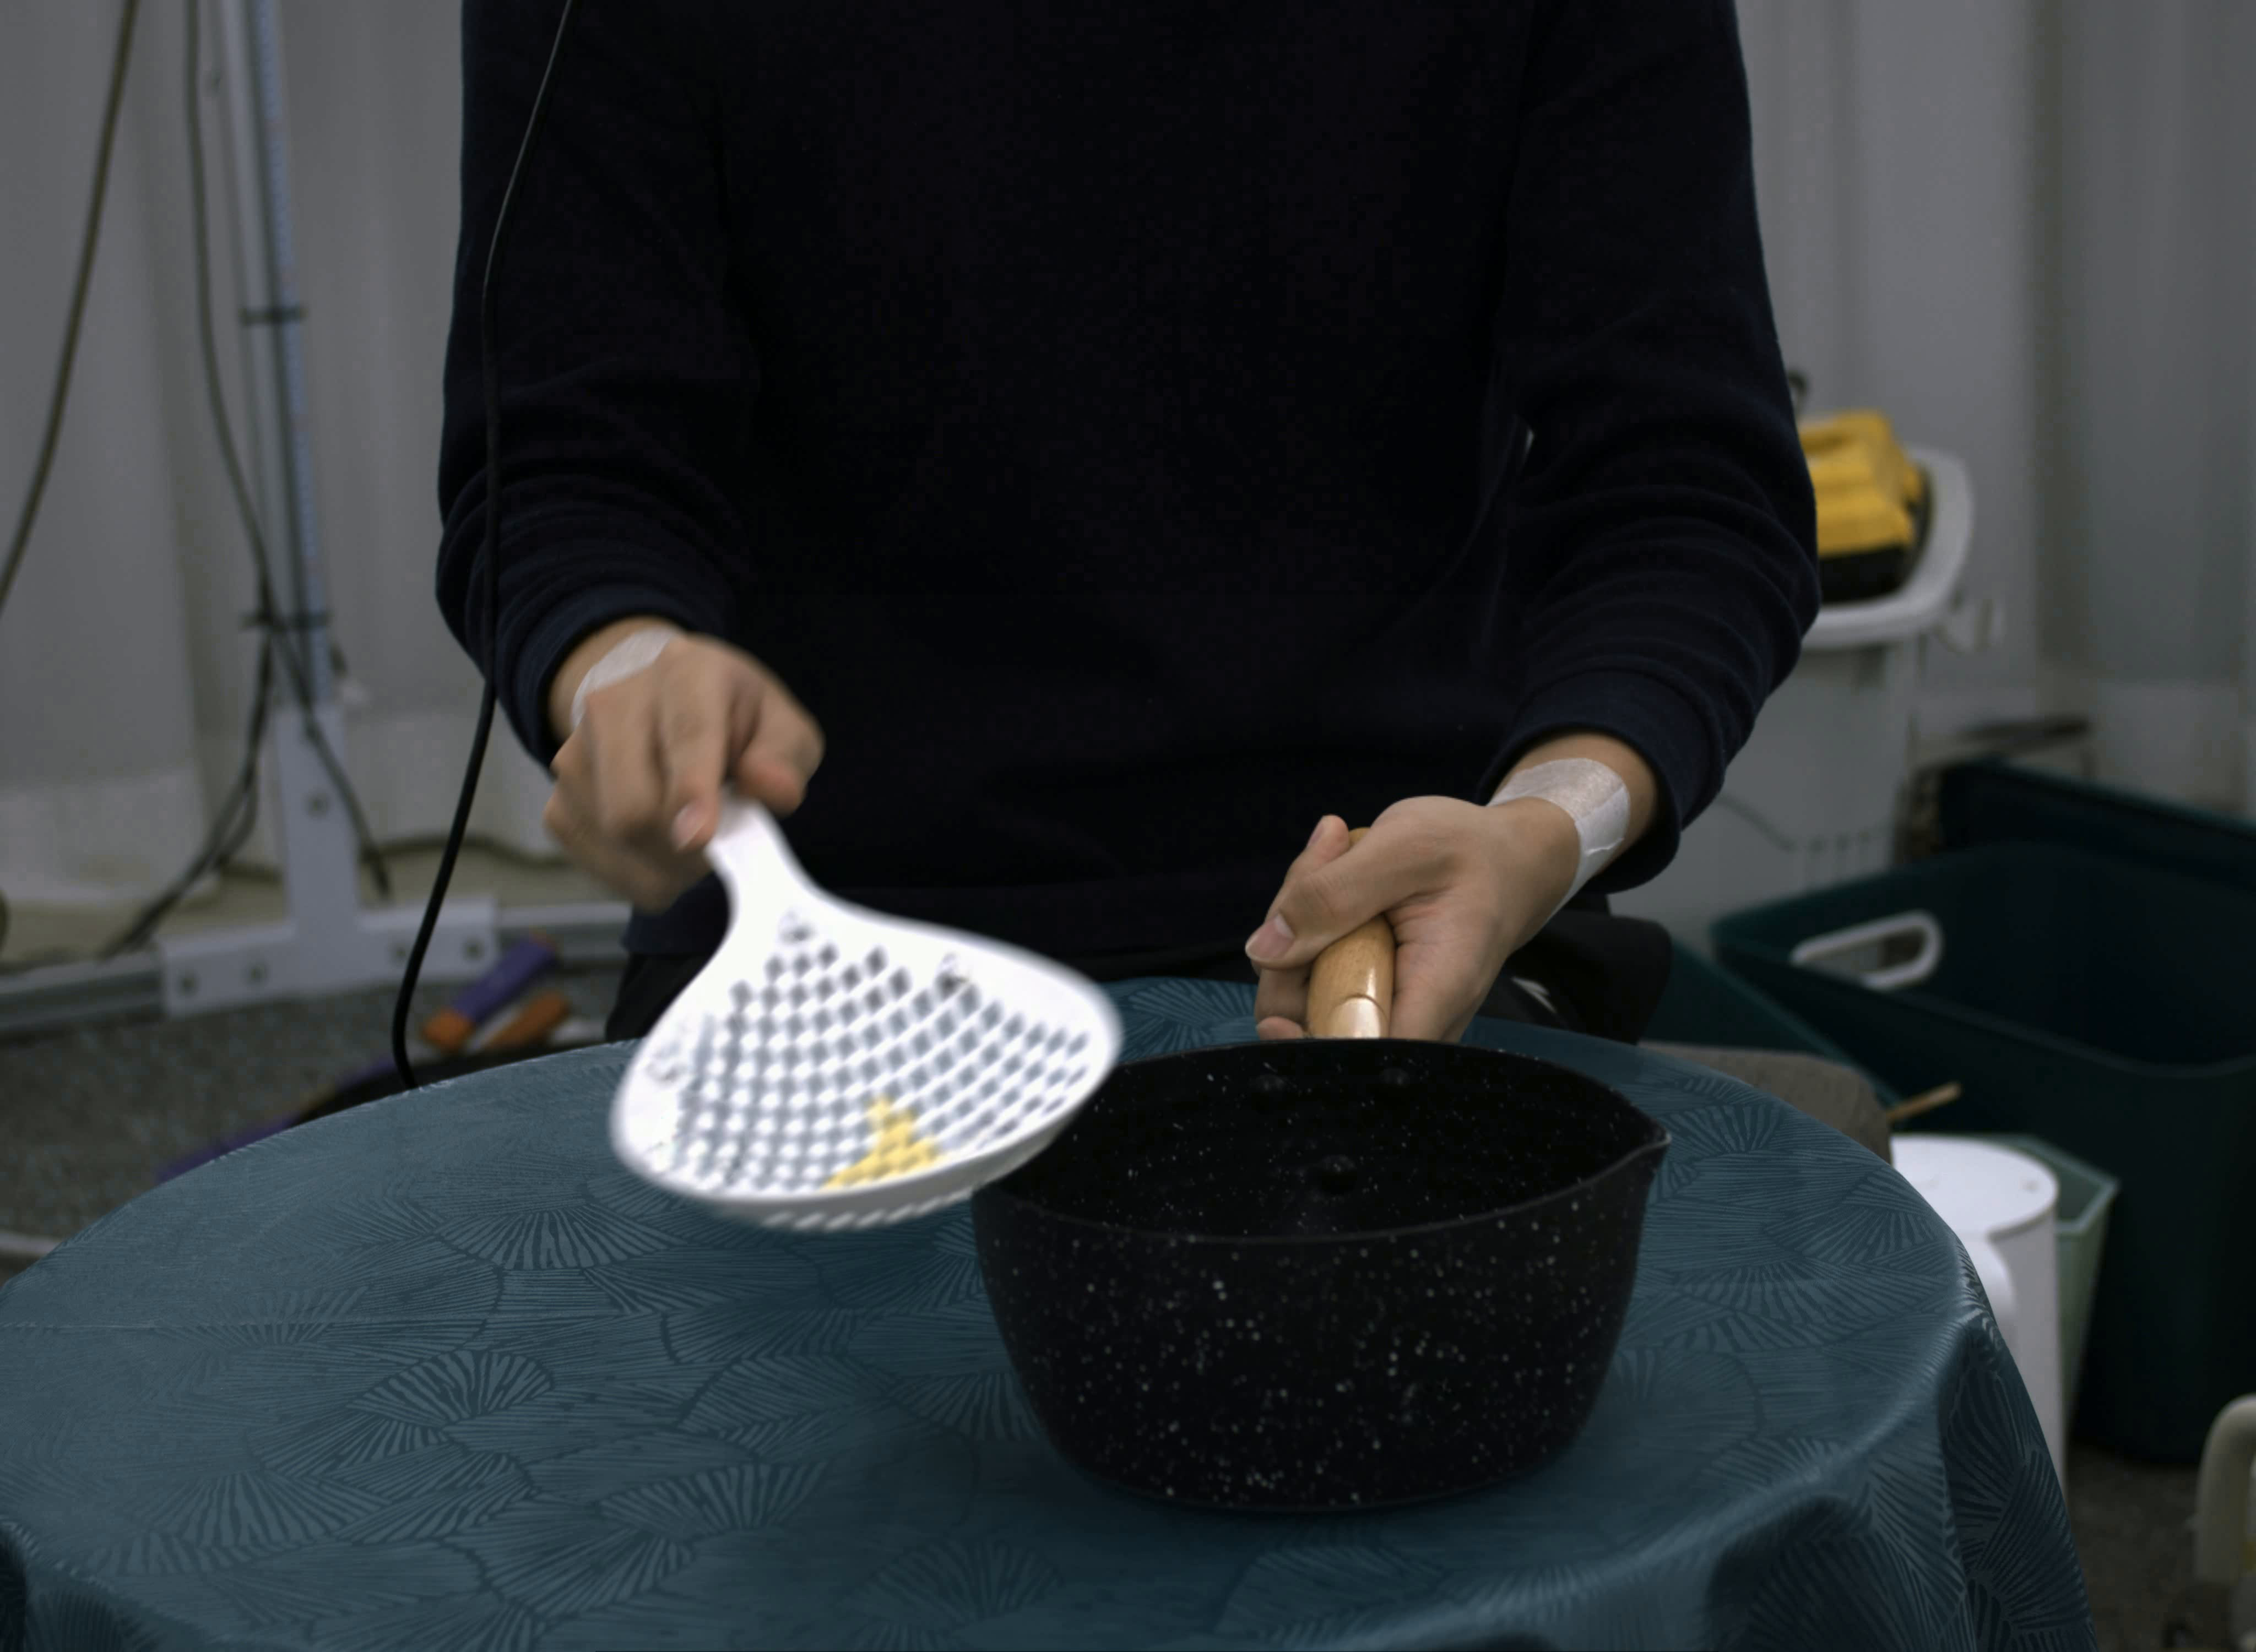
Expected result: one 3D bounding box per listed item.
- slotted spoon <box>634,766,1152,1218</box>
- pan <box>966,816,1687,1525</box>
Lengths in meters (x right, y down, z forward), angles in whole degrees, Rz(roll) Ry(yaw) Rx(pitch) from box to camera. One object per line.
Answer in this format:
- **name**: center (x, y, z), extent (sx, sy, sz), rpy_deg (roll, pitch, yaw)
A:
- **slotted spoon**: center (-0.091, 0.032, 1.551), extent (0.136, 0.050, 0.352), rpy_deg (-18, 28, -11)
- **pan**: center (0.058, 0.094, 1.577), extent (0.207, 0.108, 0.345), rpy_deg (-3, 15, 6)
